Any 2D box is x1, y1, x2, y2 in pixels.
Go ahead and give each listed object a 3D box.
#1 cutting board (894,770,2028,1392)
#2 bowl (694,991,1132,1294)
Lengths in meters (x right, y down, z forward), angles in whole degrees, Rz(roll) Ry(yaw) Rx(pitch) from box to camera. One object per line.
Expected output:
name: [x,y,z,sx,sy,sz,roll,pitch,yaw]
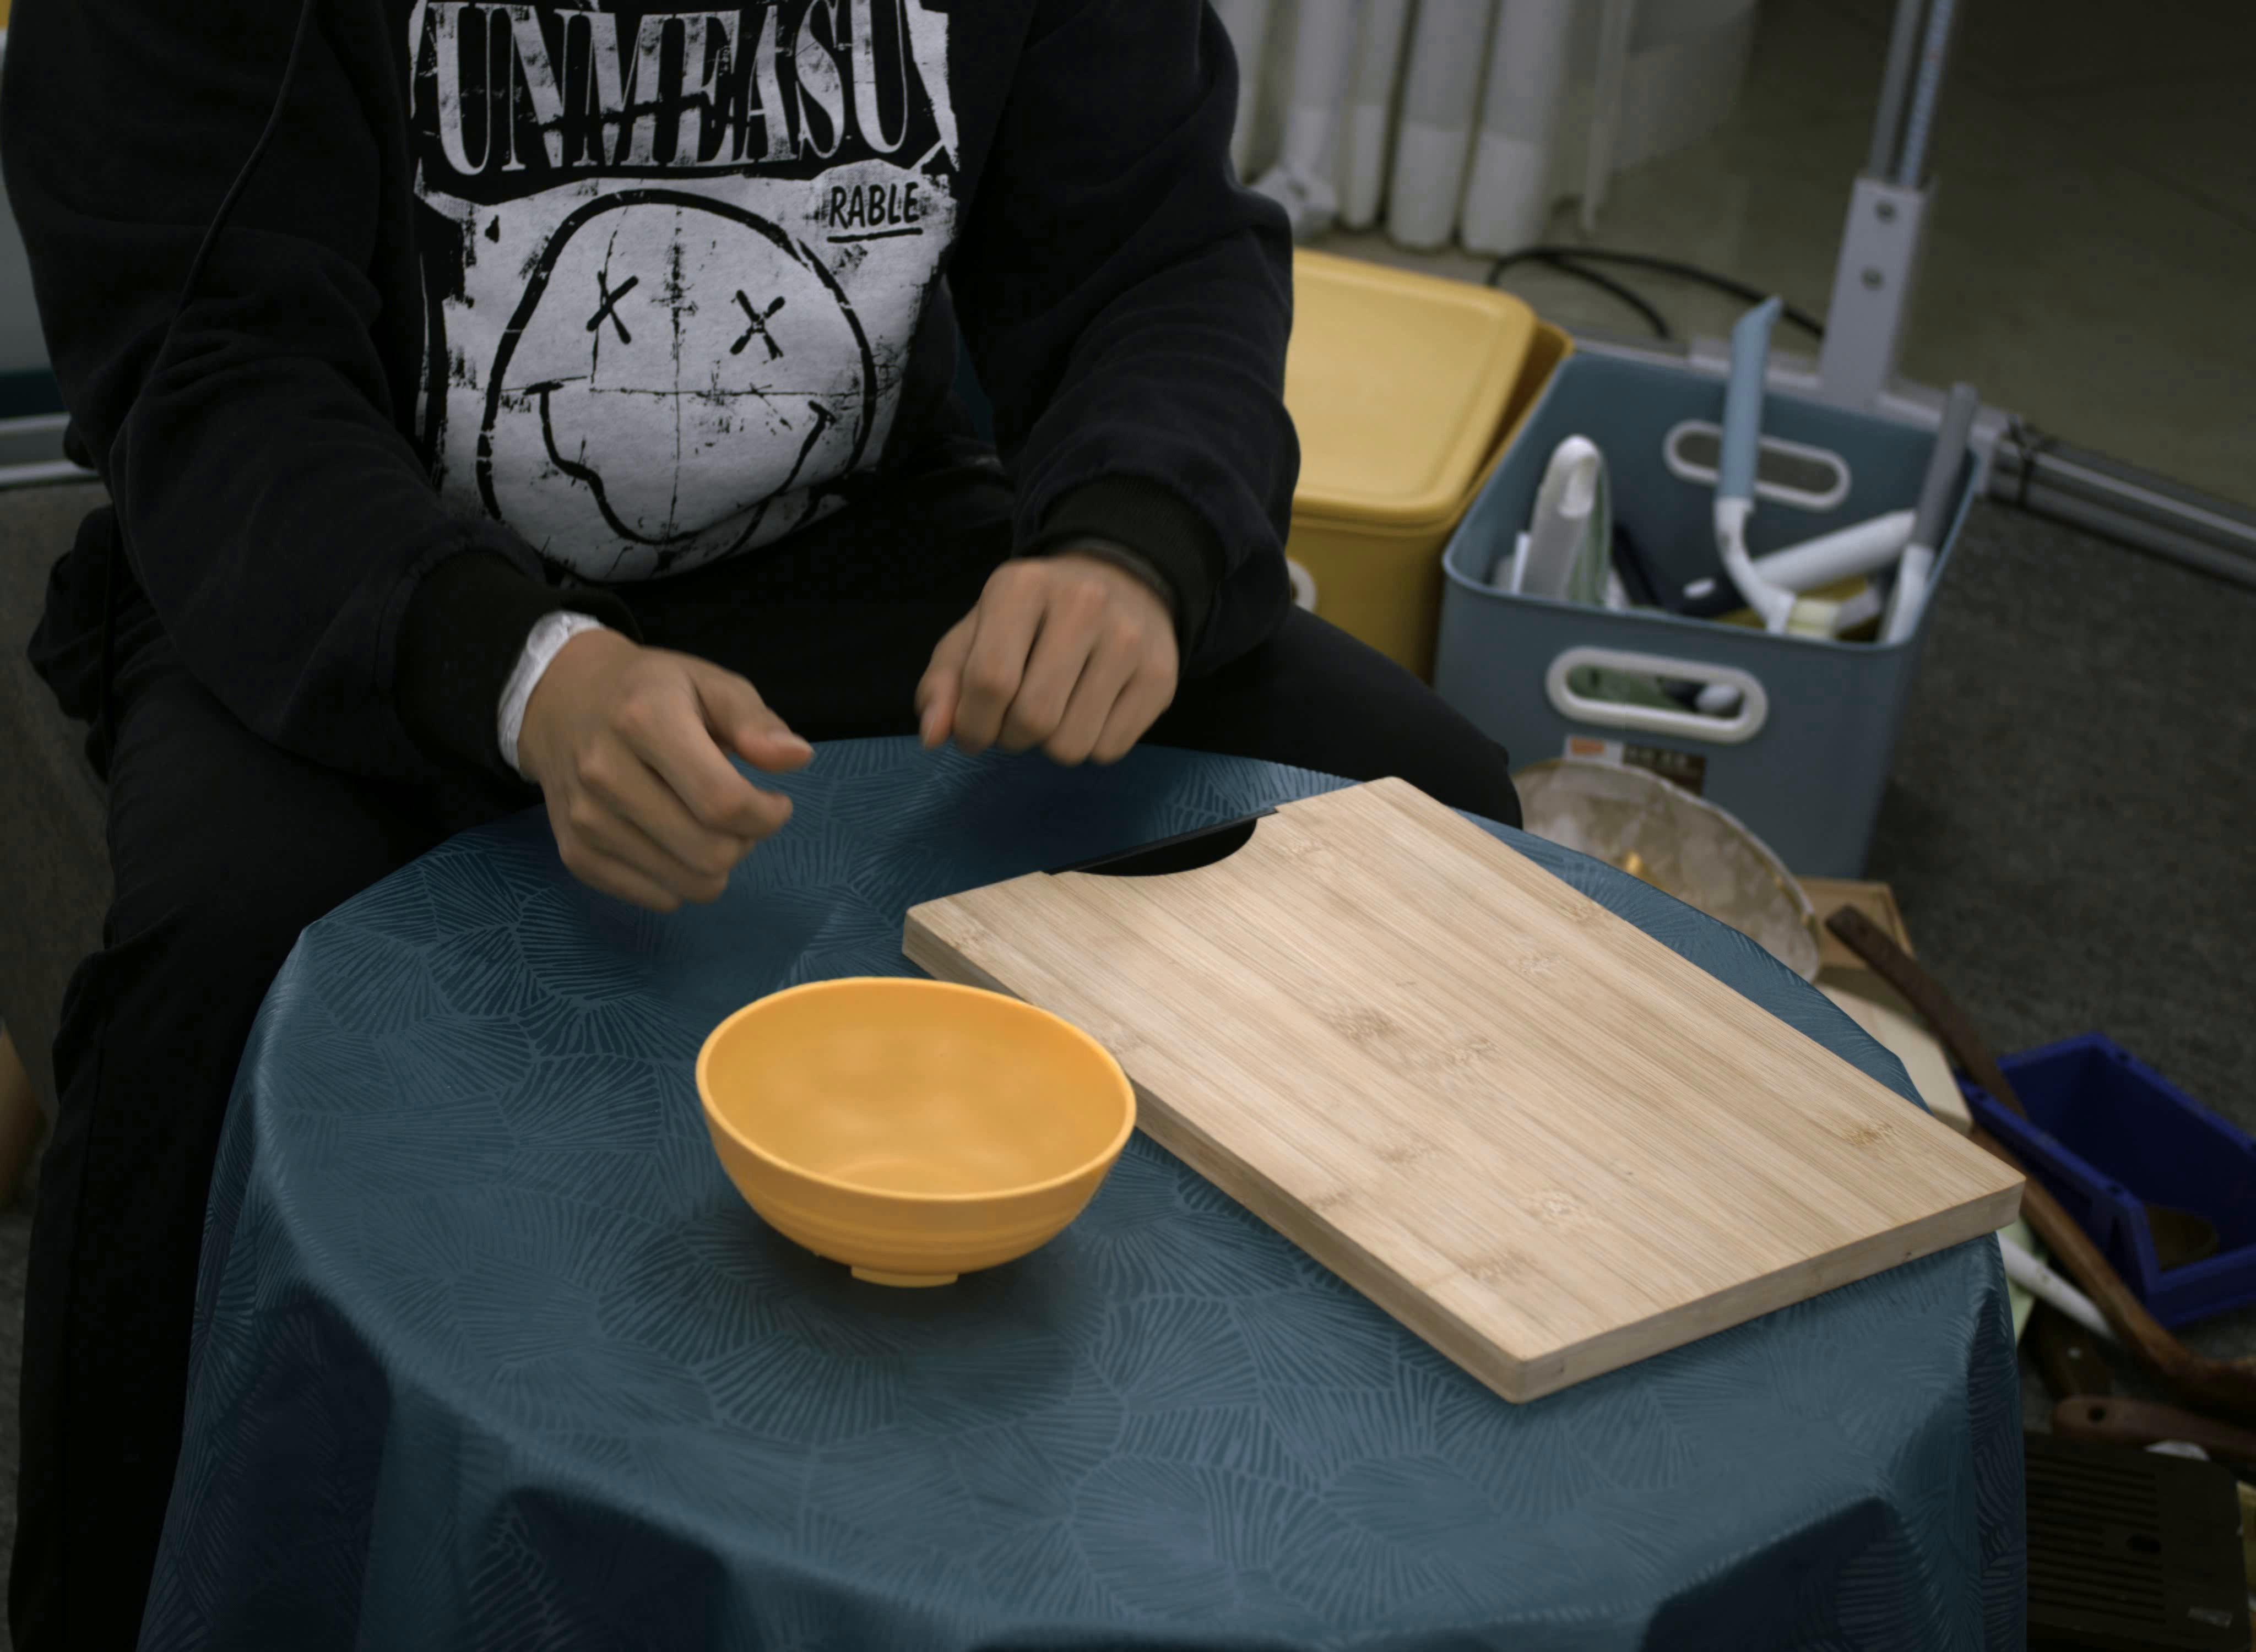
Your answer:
cutting board: [0.112,0.082,1.890,0.249,0.023,0.351,-15,34,-37]
bowl: [-0.073,0.112,1.746,0.145,0.060,0.146,6,24,-3]
